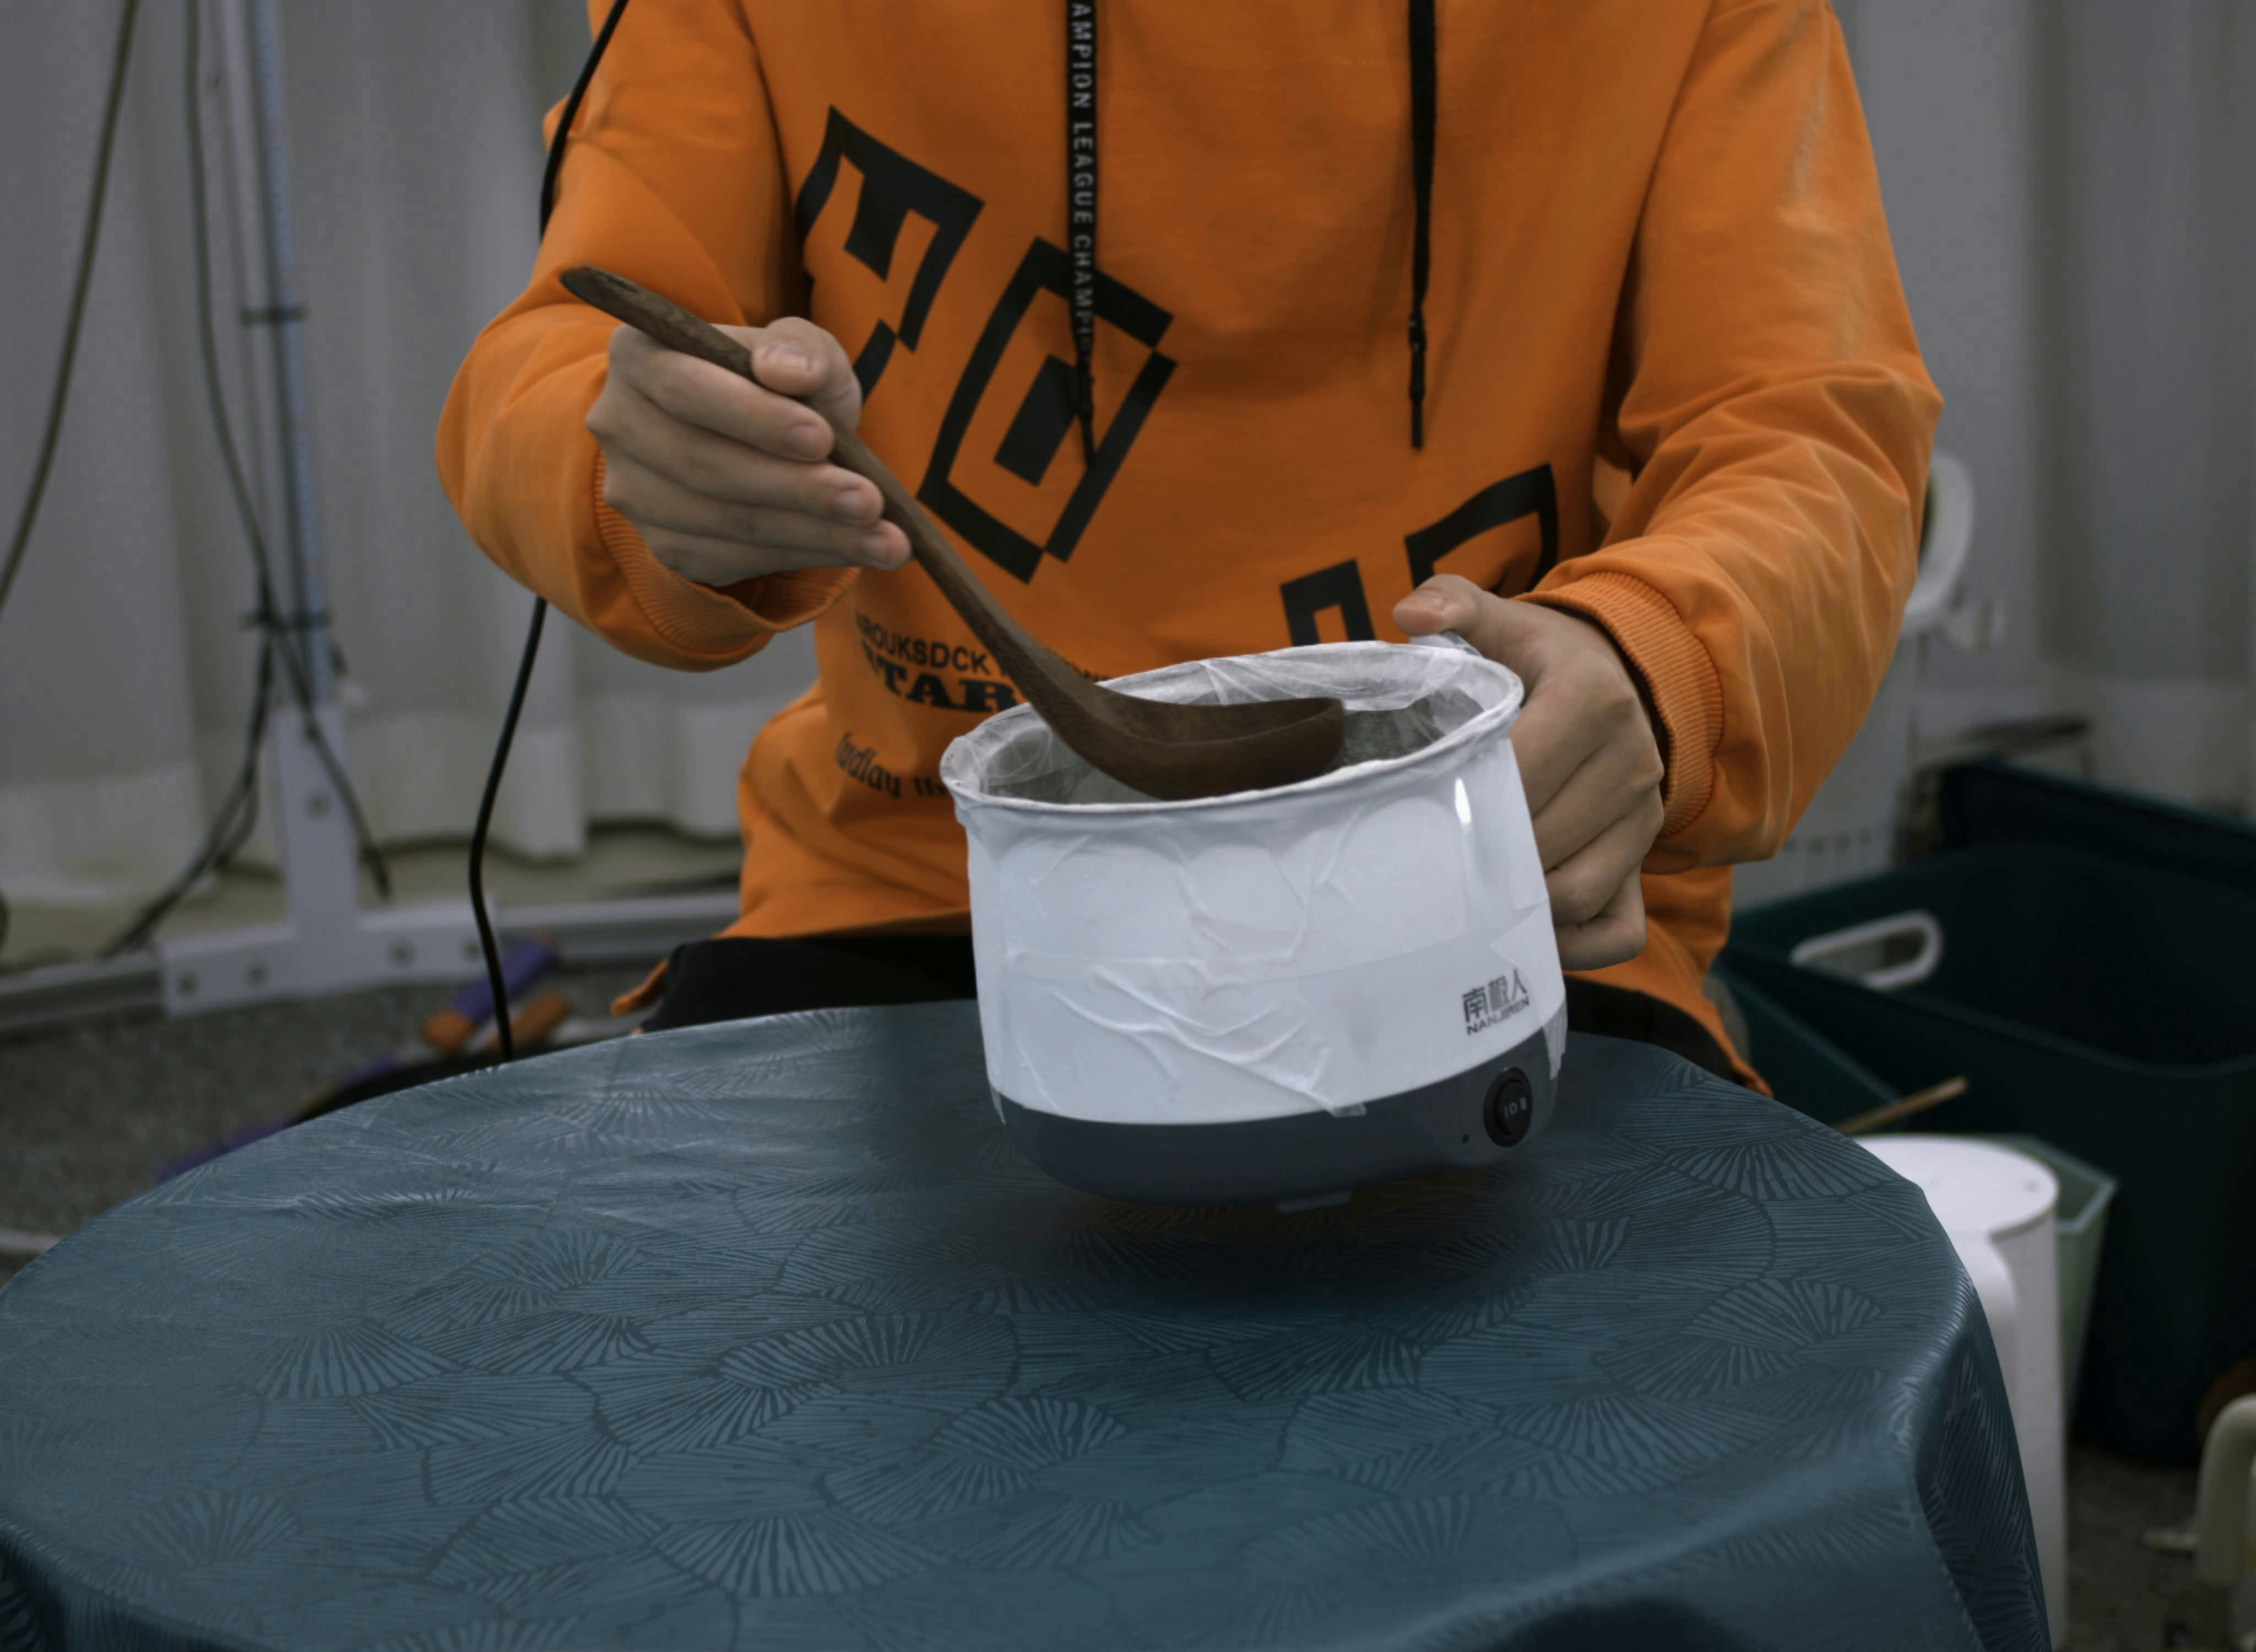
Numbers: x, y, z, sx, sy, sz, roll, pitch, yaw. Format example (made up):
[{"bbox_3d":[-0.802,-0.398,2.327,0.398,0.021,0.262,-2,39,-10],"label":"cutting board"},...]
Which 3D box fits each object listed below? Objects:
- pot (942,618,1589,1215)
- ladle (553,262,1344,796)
[{"bbox_3d":[0.058,0.022,1.669,0.179,0.136,0.234,5,20,39],"label":"pot"},{"bbox_3d":[-0.052,-0.101,1.661,0.274,0.071,0.076,43,10,2],"label":"ladle"}]
